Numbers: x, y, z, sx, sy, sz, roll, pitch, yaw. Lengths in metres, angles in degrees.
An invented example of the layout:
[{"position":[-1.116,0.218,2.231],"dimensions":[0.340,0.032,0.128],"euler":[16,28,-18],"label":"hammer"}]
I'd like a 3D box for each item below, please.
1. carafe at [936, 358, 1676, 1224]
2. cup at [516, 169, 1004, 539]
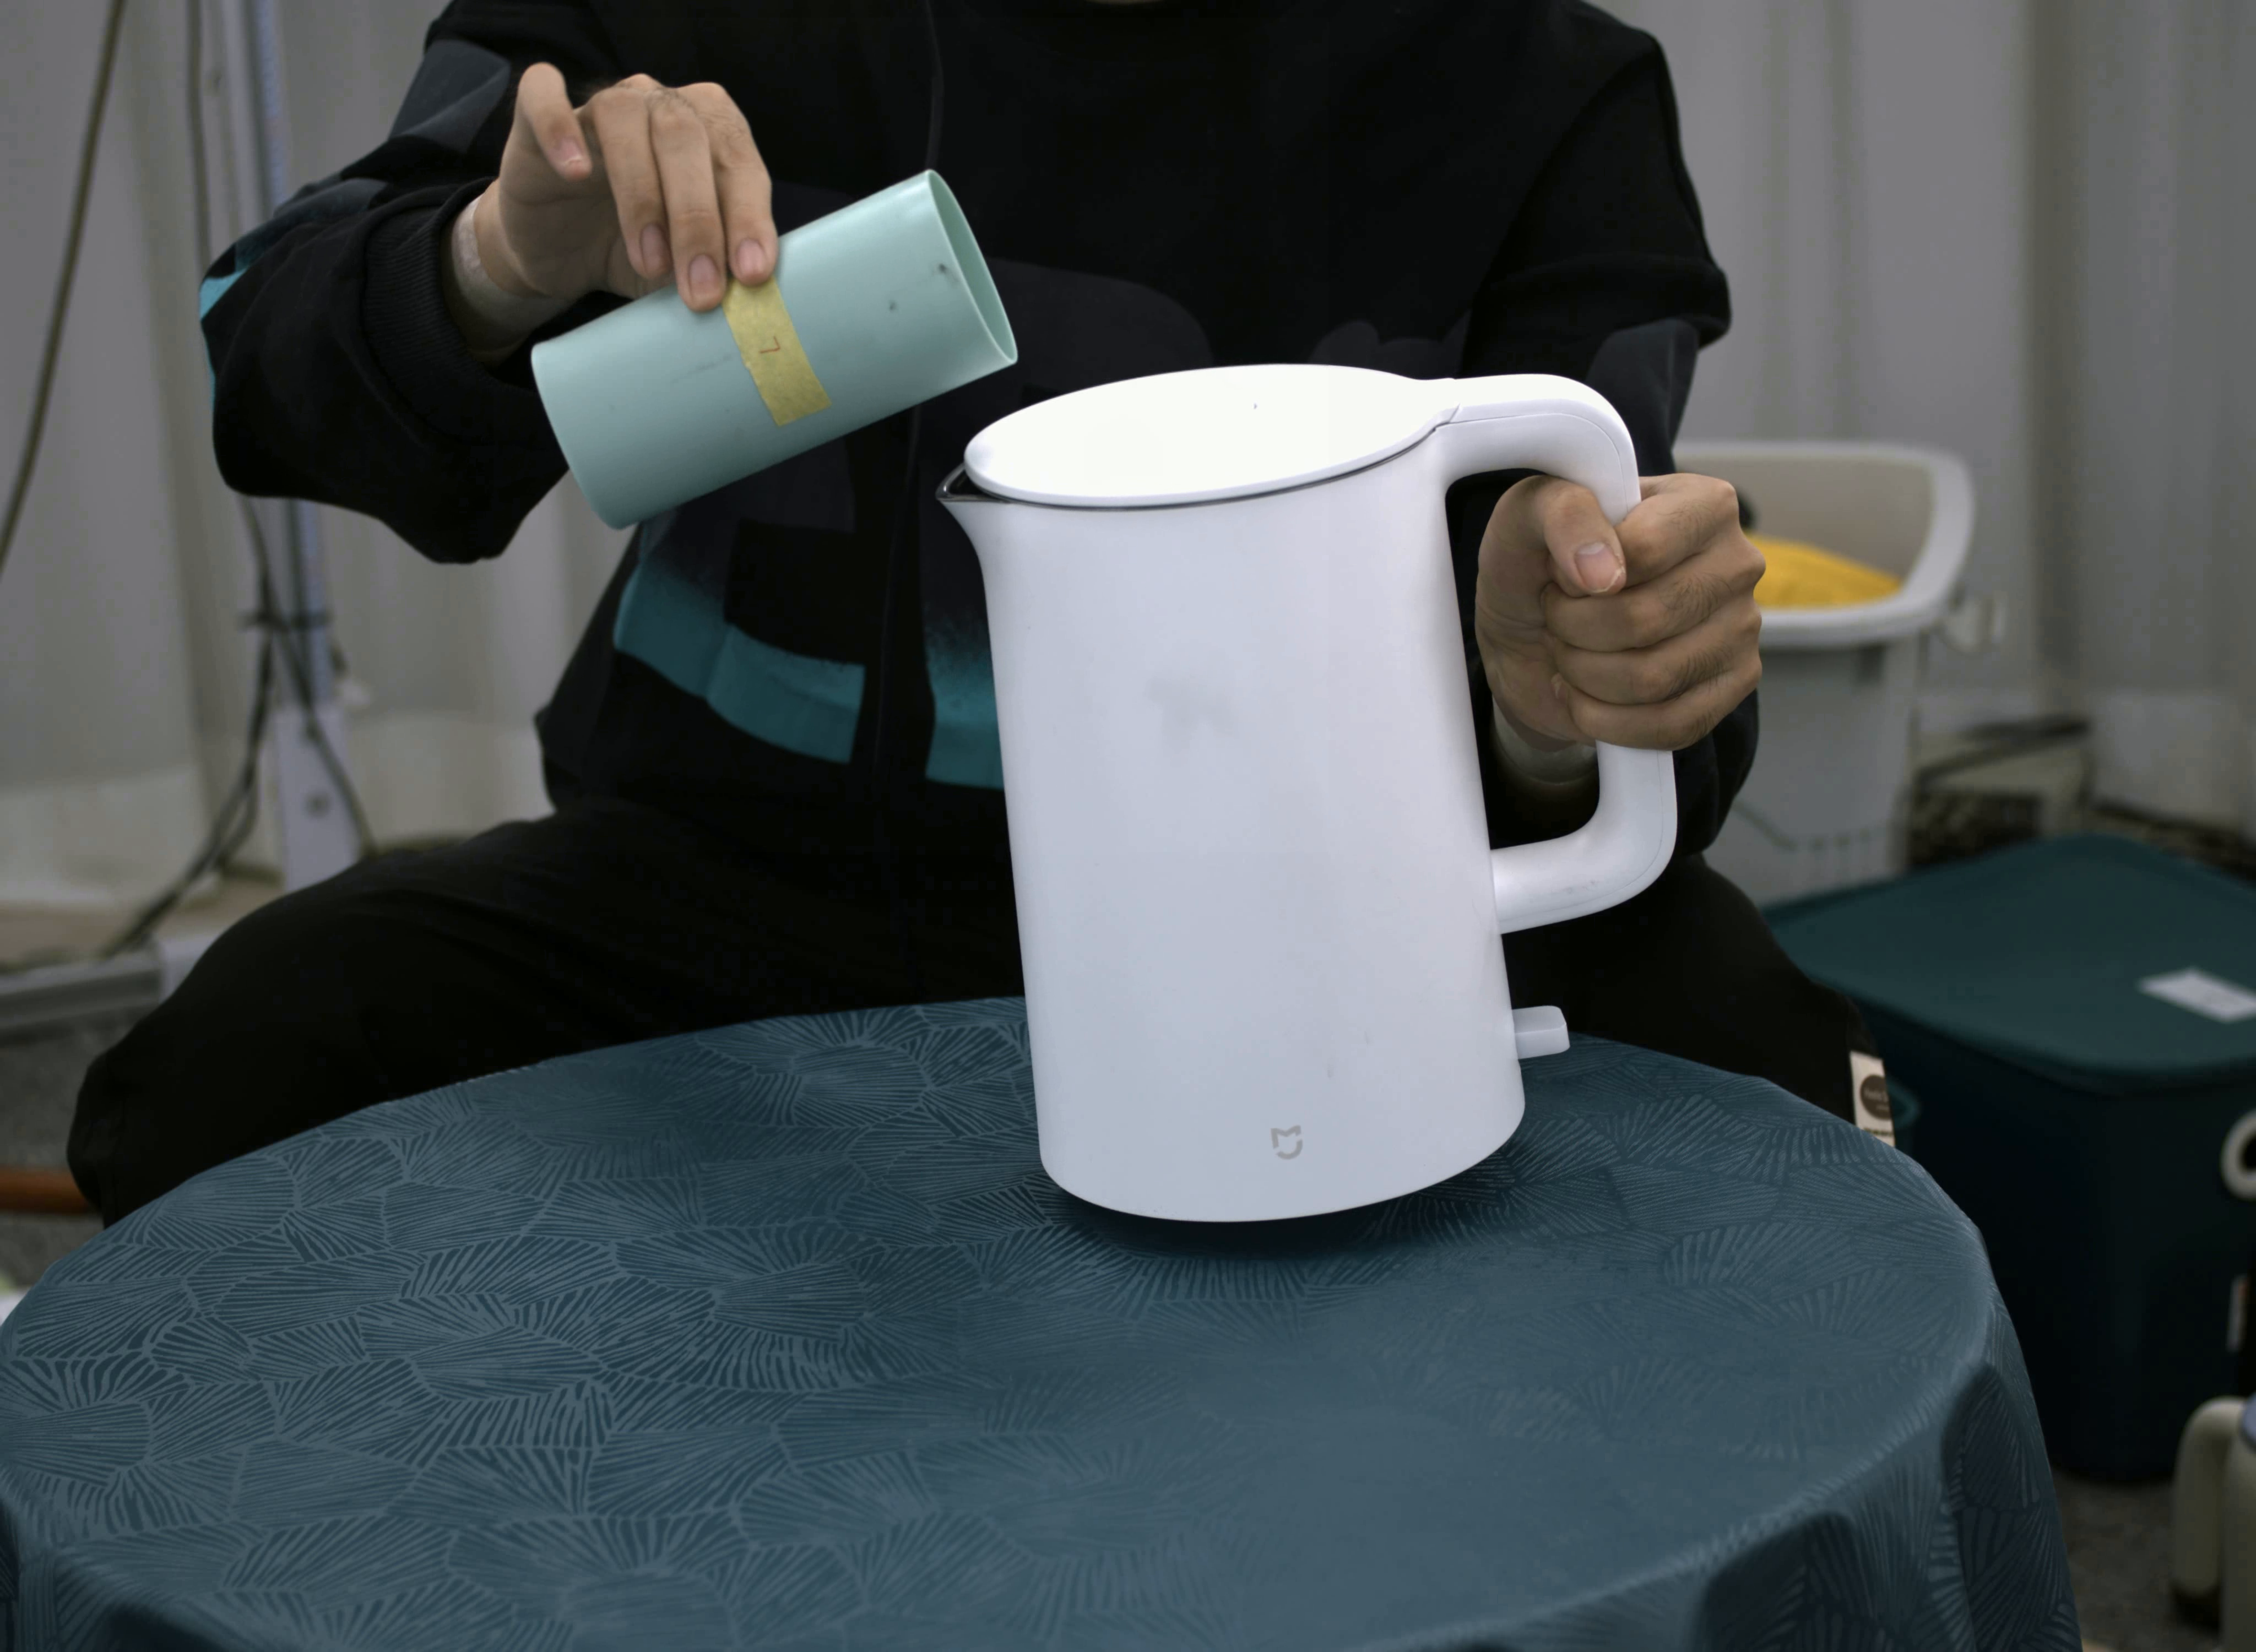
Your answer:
[{"position":[0.060,-0.016,1.675],"dimensions":[0.212,0.239,0.153],"euler":[-8,18,-1],"label":"carafe"},{"position":[-0.109,-0.140,1.636],"dimensions":[0.132,0.066,0.067],"euler":[-24,12,9],"label":"cup"}]
